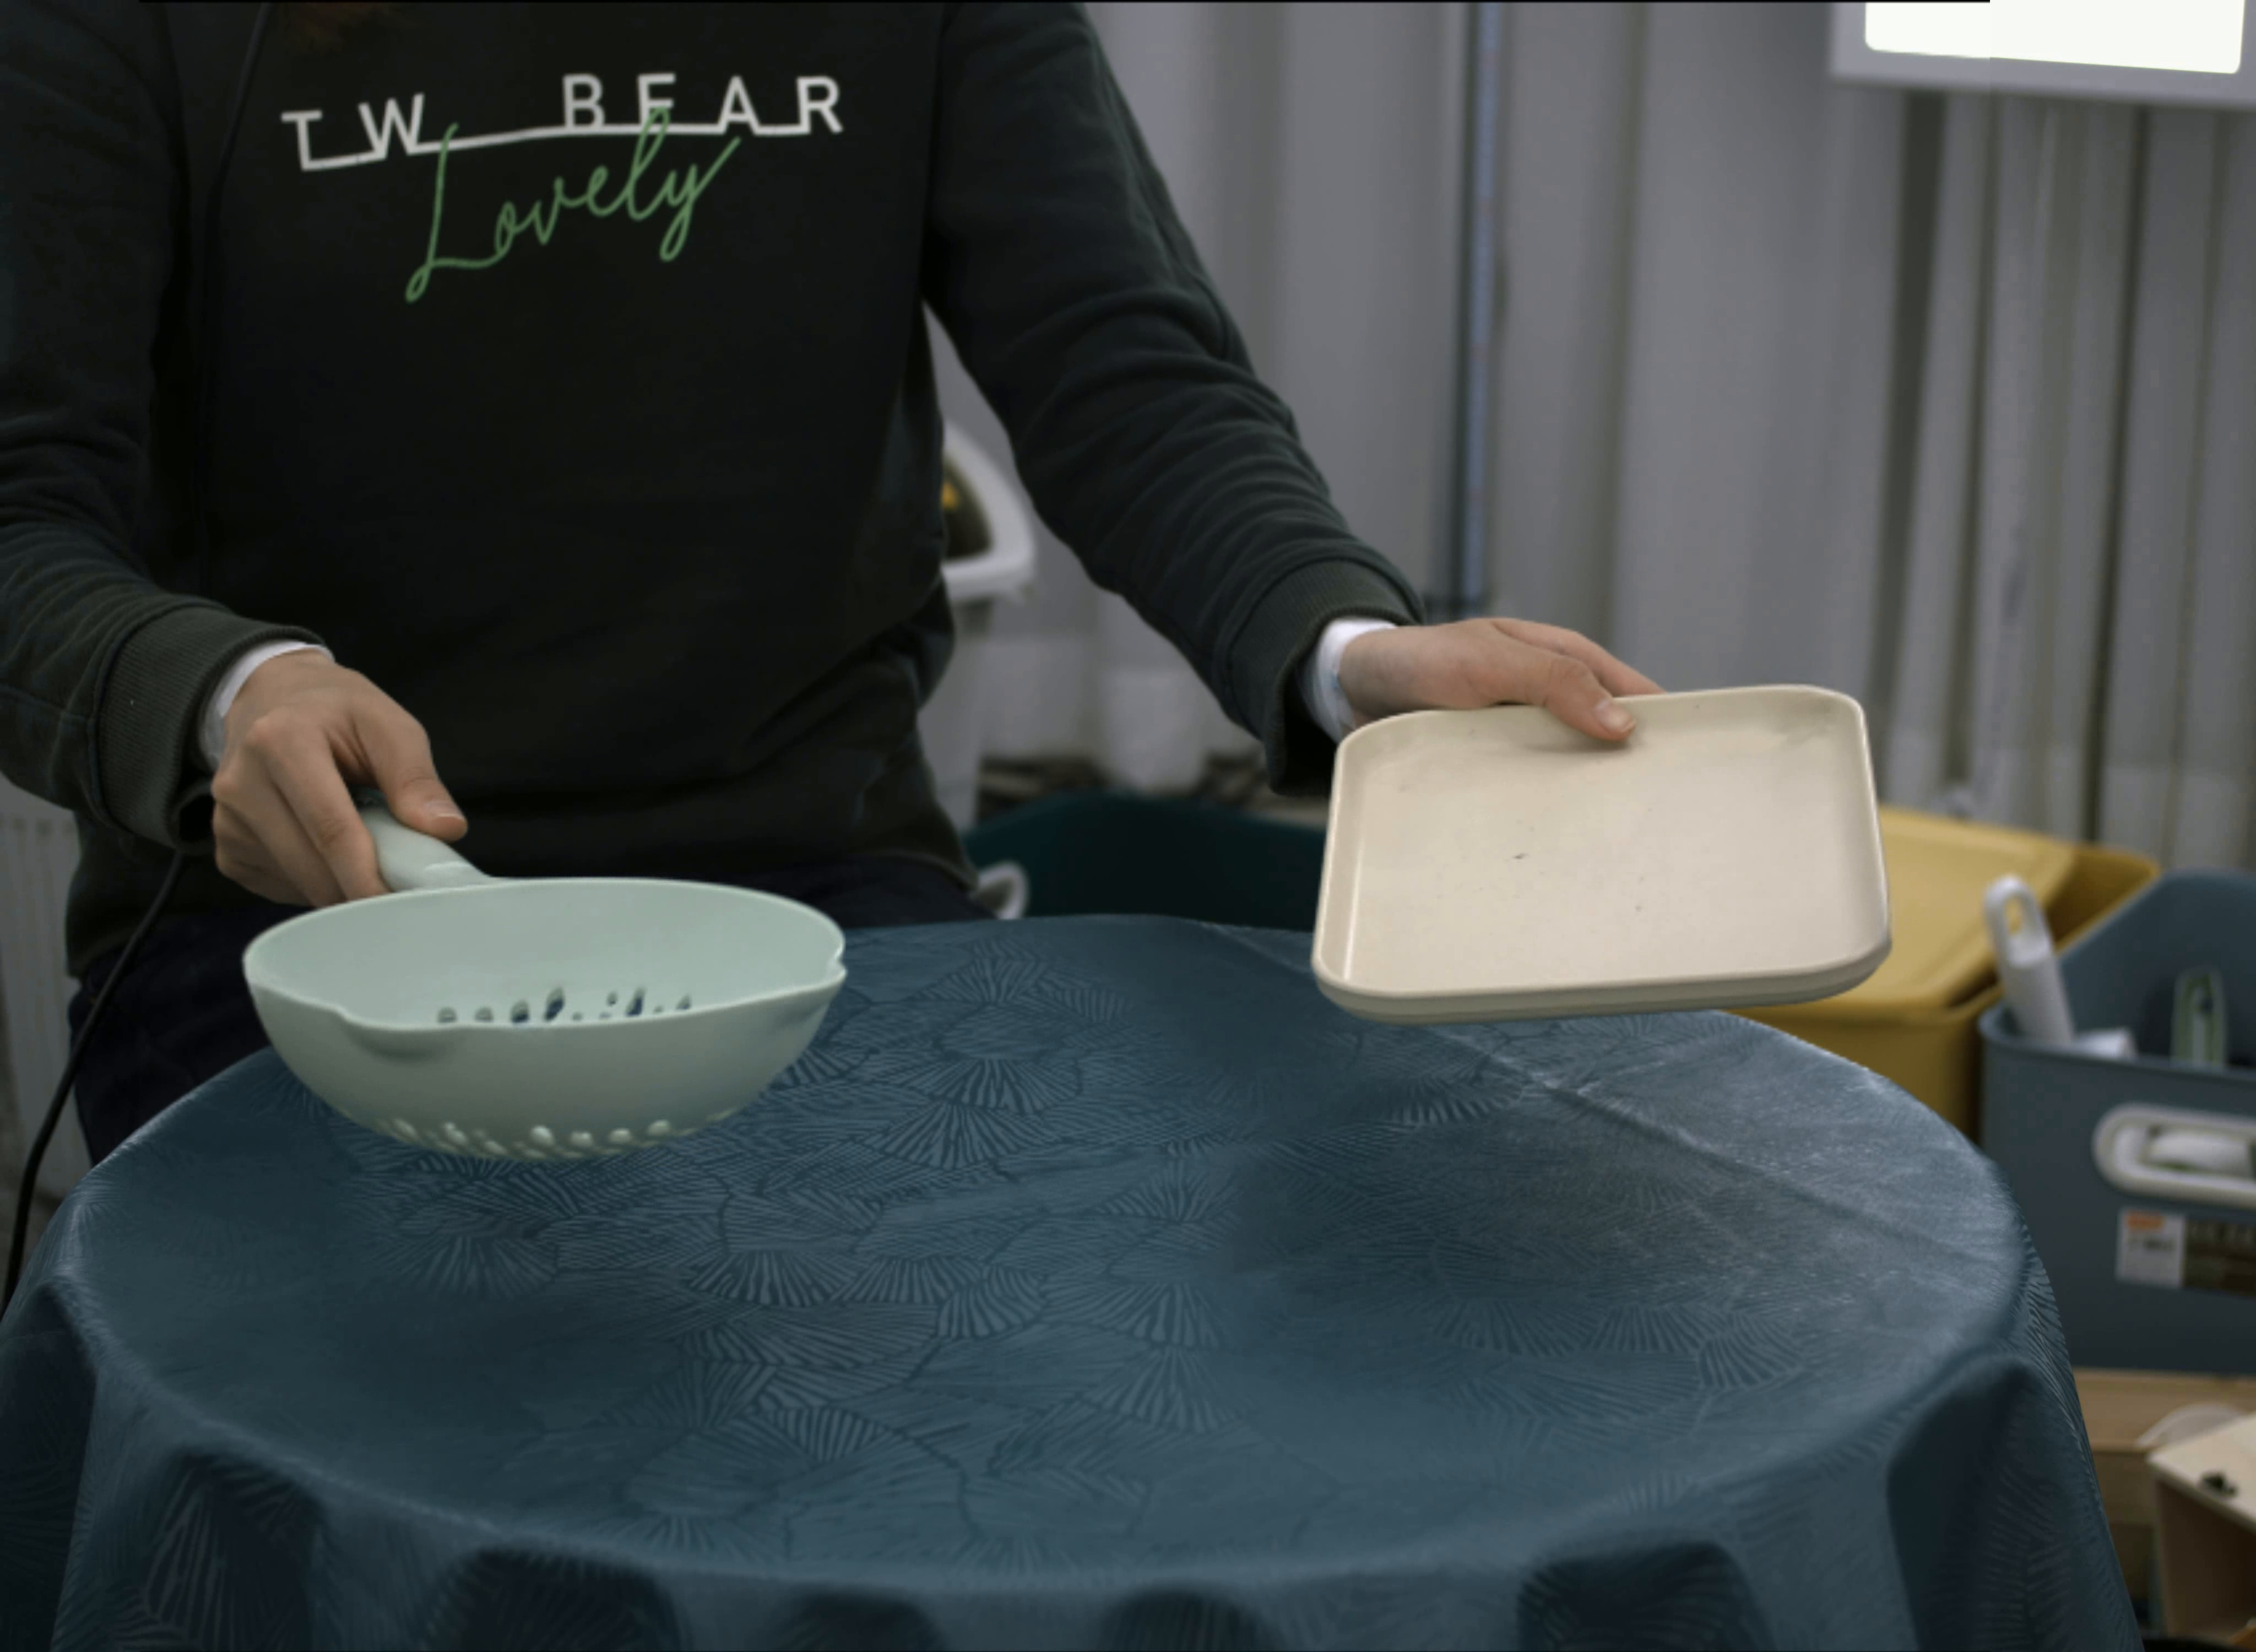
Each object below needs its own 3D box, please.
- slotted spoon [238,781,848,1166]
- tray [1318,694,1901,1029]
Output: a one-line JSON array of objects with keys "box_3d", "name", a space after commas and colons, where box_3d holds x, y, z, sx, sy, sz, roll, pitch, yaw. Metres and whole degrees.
[{"box_3d": [-0.200, 0.028, 1.567, 0.170, 0.076, 0.354, -3, 20, -22], "name": "slotted spoon"}, {"box_3d": [0.145, 0.010, 1.610, 0.170, 0.017, 0.238, -4, 20, 6], "name": "tray"}]
